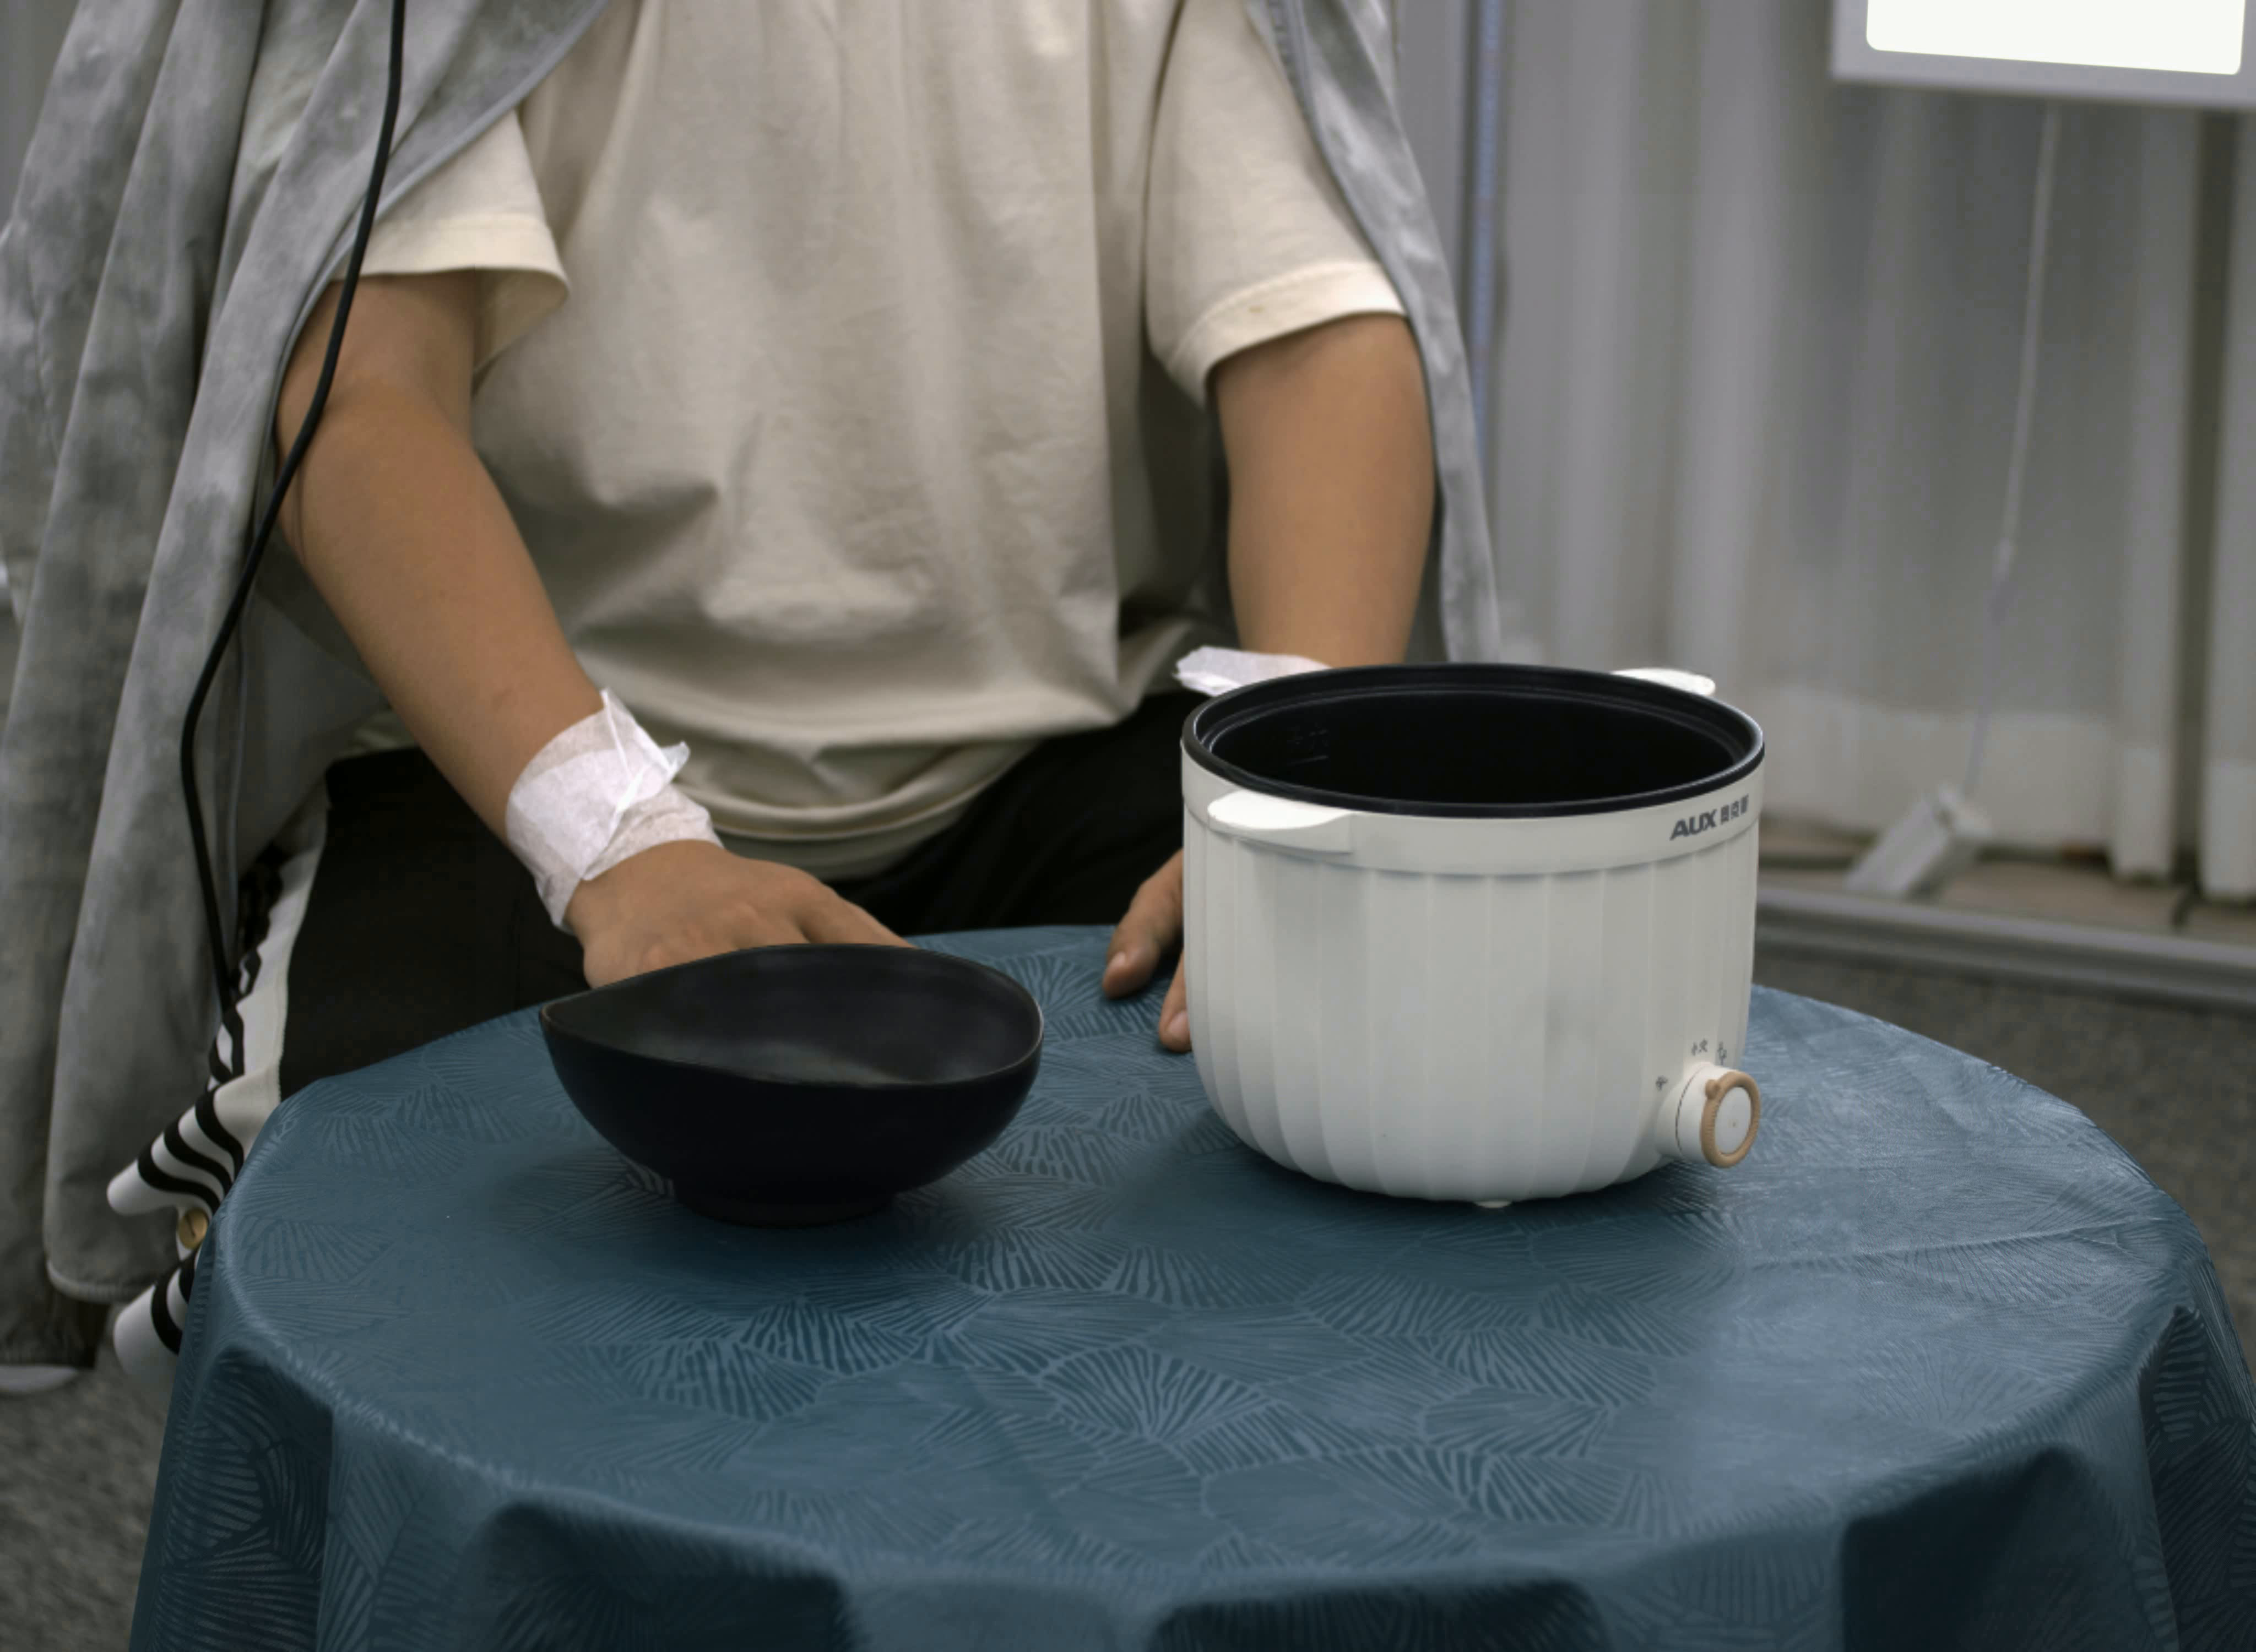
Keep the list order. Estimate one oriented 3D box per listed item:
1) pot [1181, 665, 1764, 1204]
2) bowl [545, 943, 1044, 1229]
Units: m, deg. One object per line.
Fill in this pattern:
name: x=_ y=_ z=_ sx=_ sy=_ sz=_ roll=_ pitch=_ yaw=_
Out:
pot: x=0.112 y=0.035 z=1.651 sx=0.188 sy=0.144 sz=0.241 roll=8 pitch=18 yaw=37
bowl: x=-0.104 y=0.083 z=1.608 sx=0.168 sy=0.067 sz=0.138 roll=11 pitch=18 yaw=36
